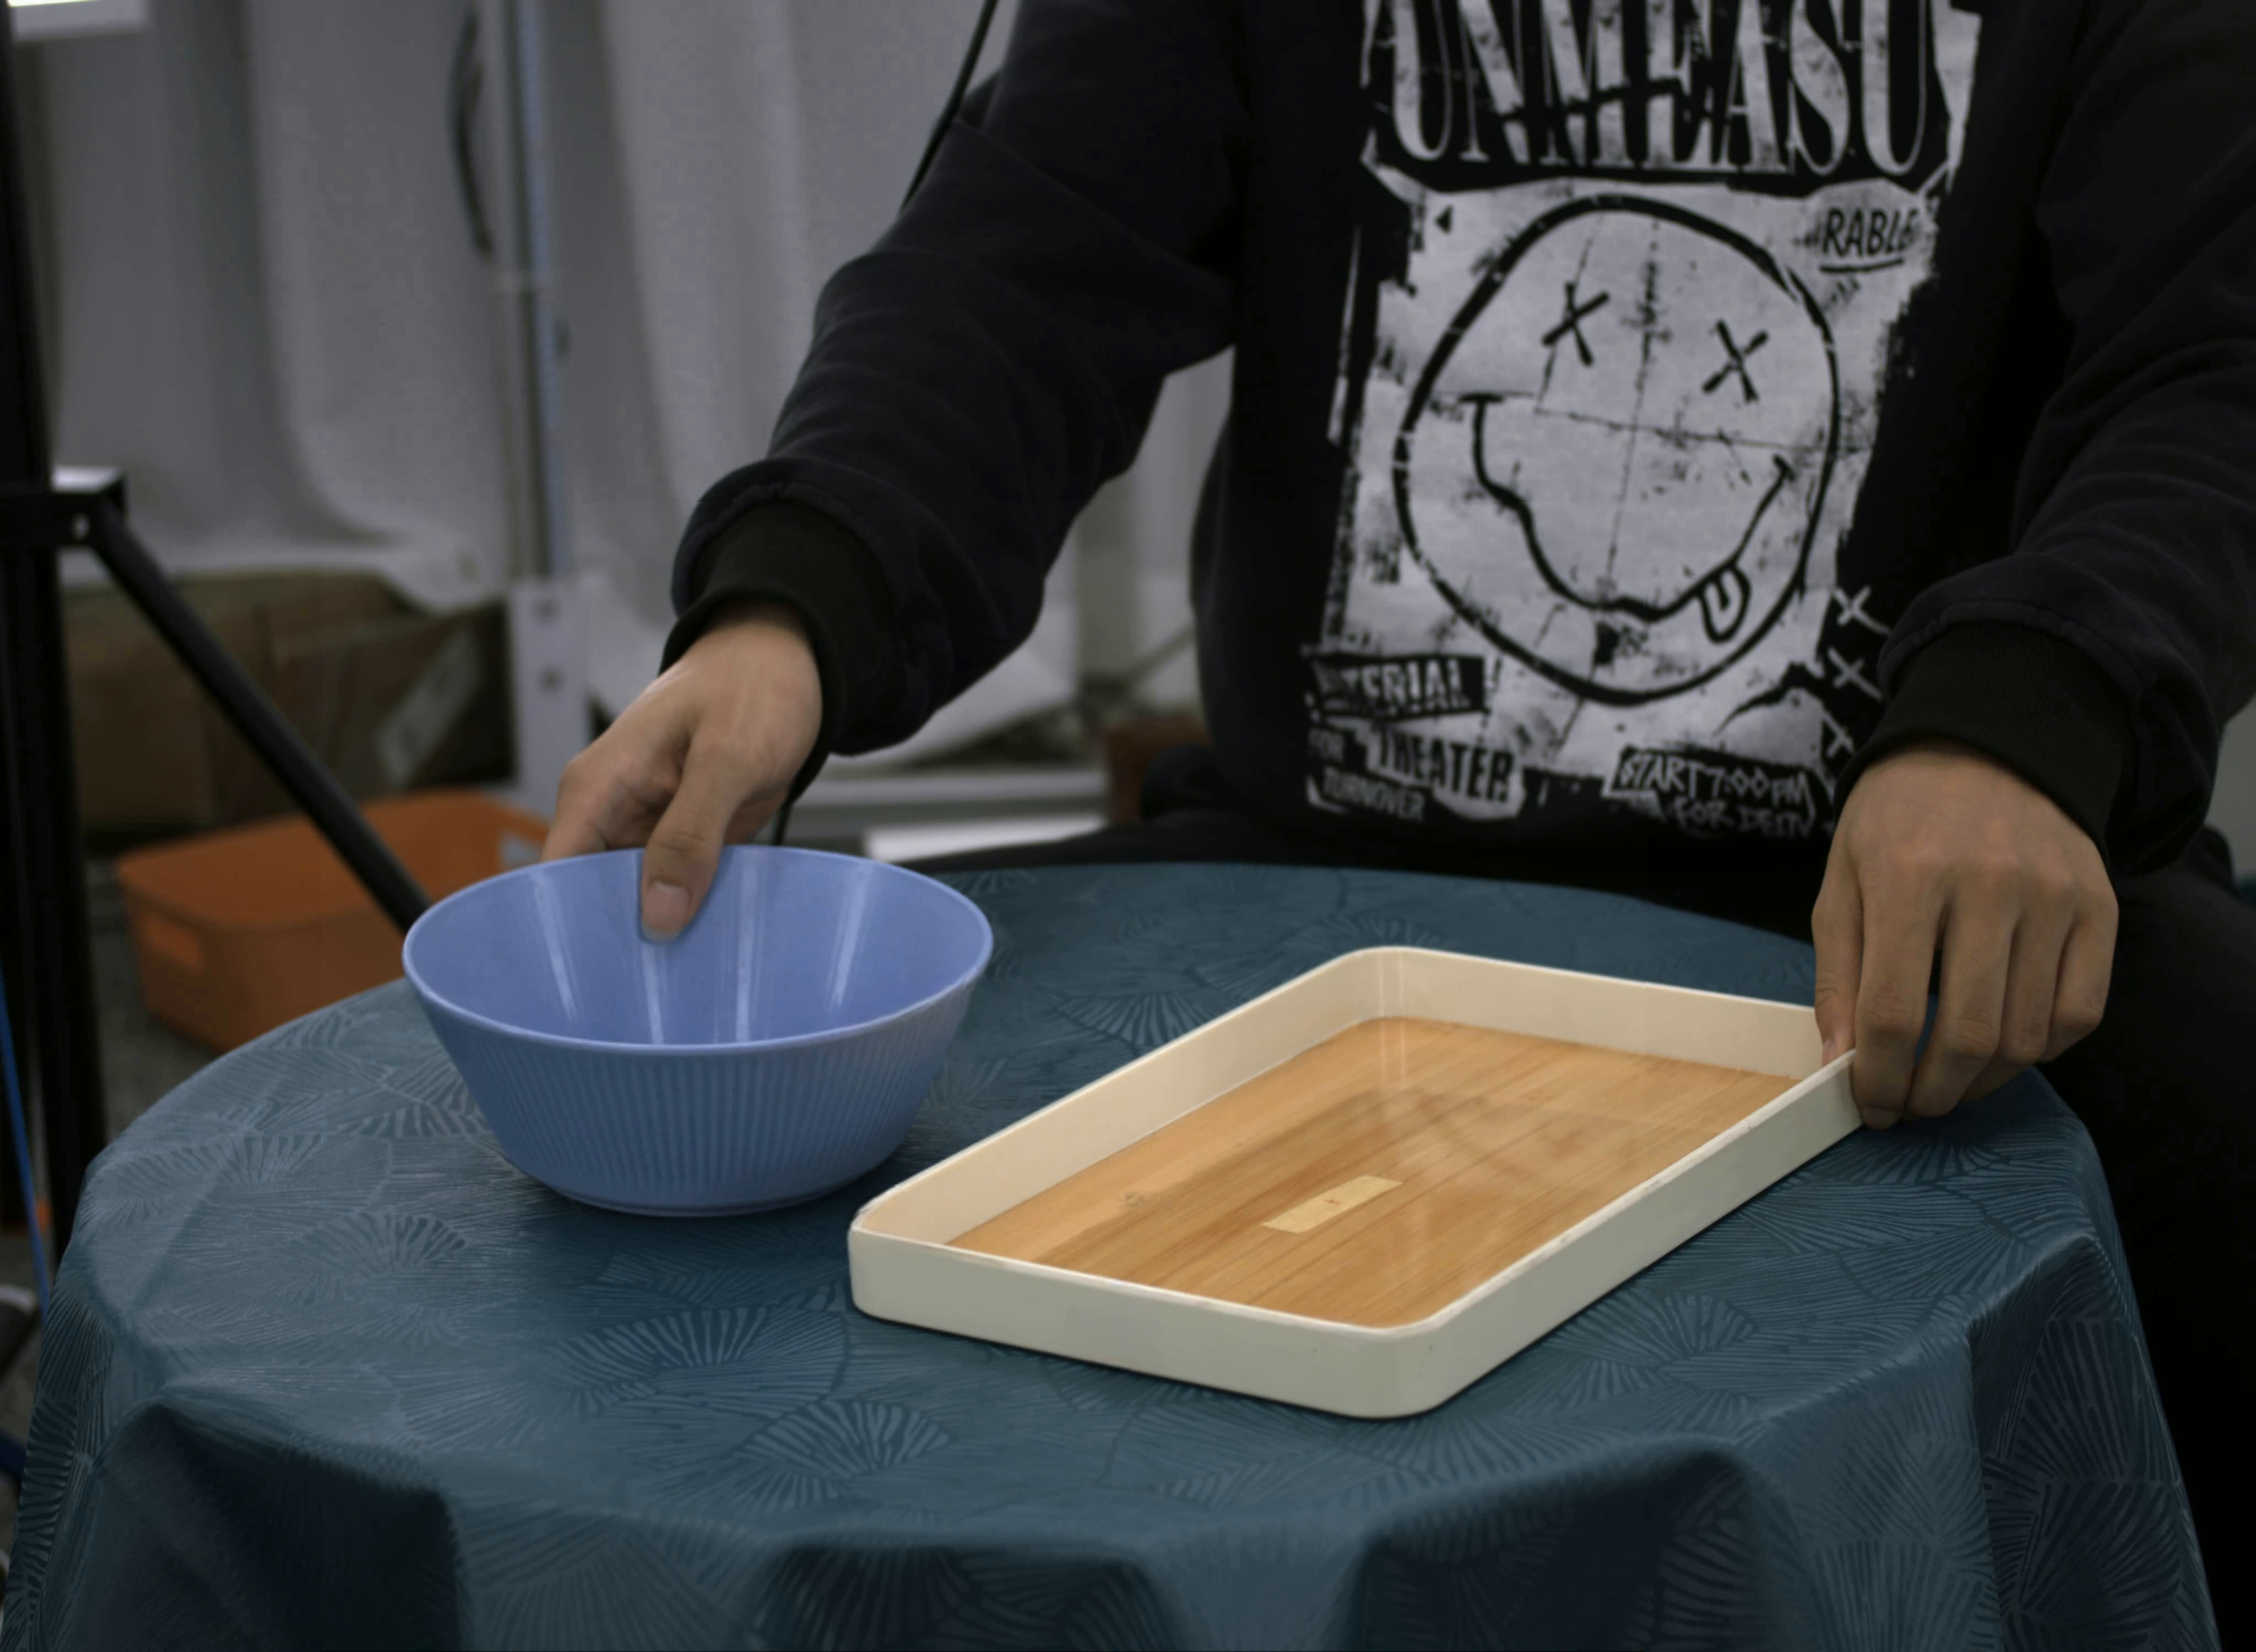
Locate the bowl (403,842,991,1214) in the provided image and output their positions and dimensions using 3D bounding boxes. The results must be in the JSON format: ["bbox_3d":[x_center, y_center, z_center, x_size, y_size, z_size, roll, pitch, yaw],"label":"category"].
[{"bbox_3d":[-0.128,0.064,1.595,0.175,0.070,0.177,-1,19,-1],"label":"bowl"}]

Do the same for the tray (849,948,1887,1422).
[{"bbox_3d":[0.076,0.098,1.533,0.195,0.027,0.294,8,19,34],"label":"tray"}]
